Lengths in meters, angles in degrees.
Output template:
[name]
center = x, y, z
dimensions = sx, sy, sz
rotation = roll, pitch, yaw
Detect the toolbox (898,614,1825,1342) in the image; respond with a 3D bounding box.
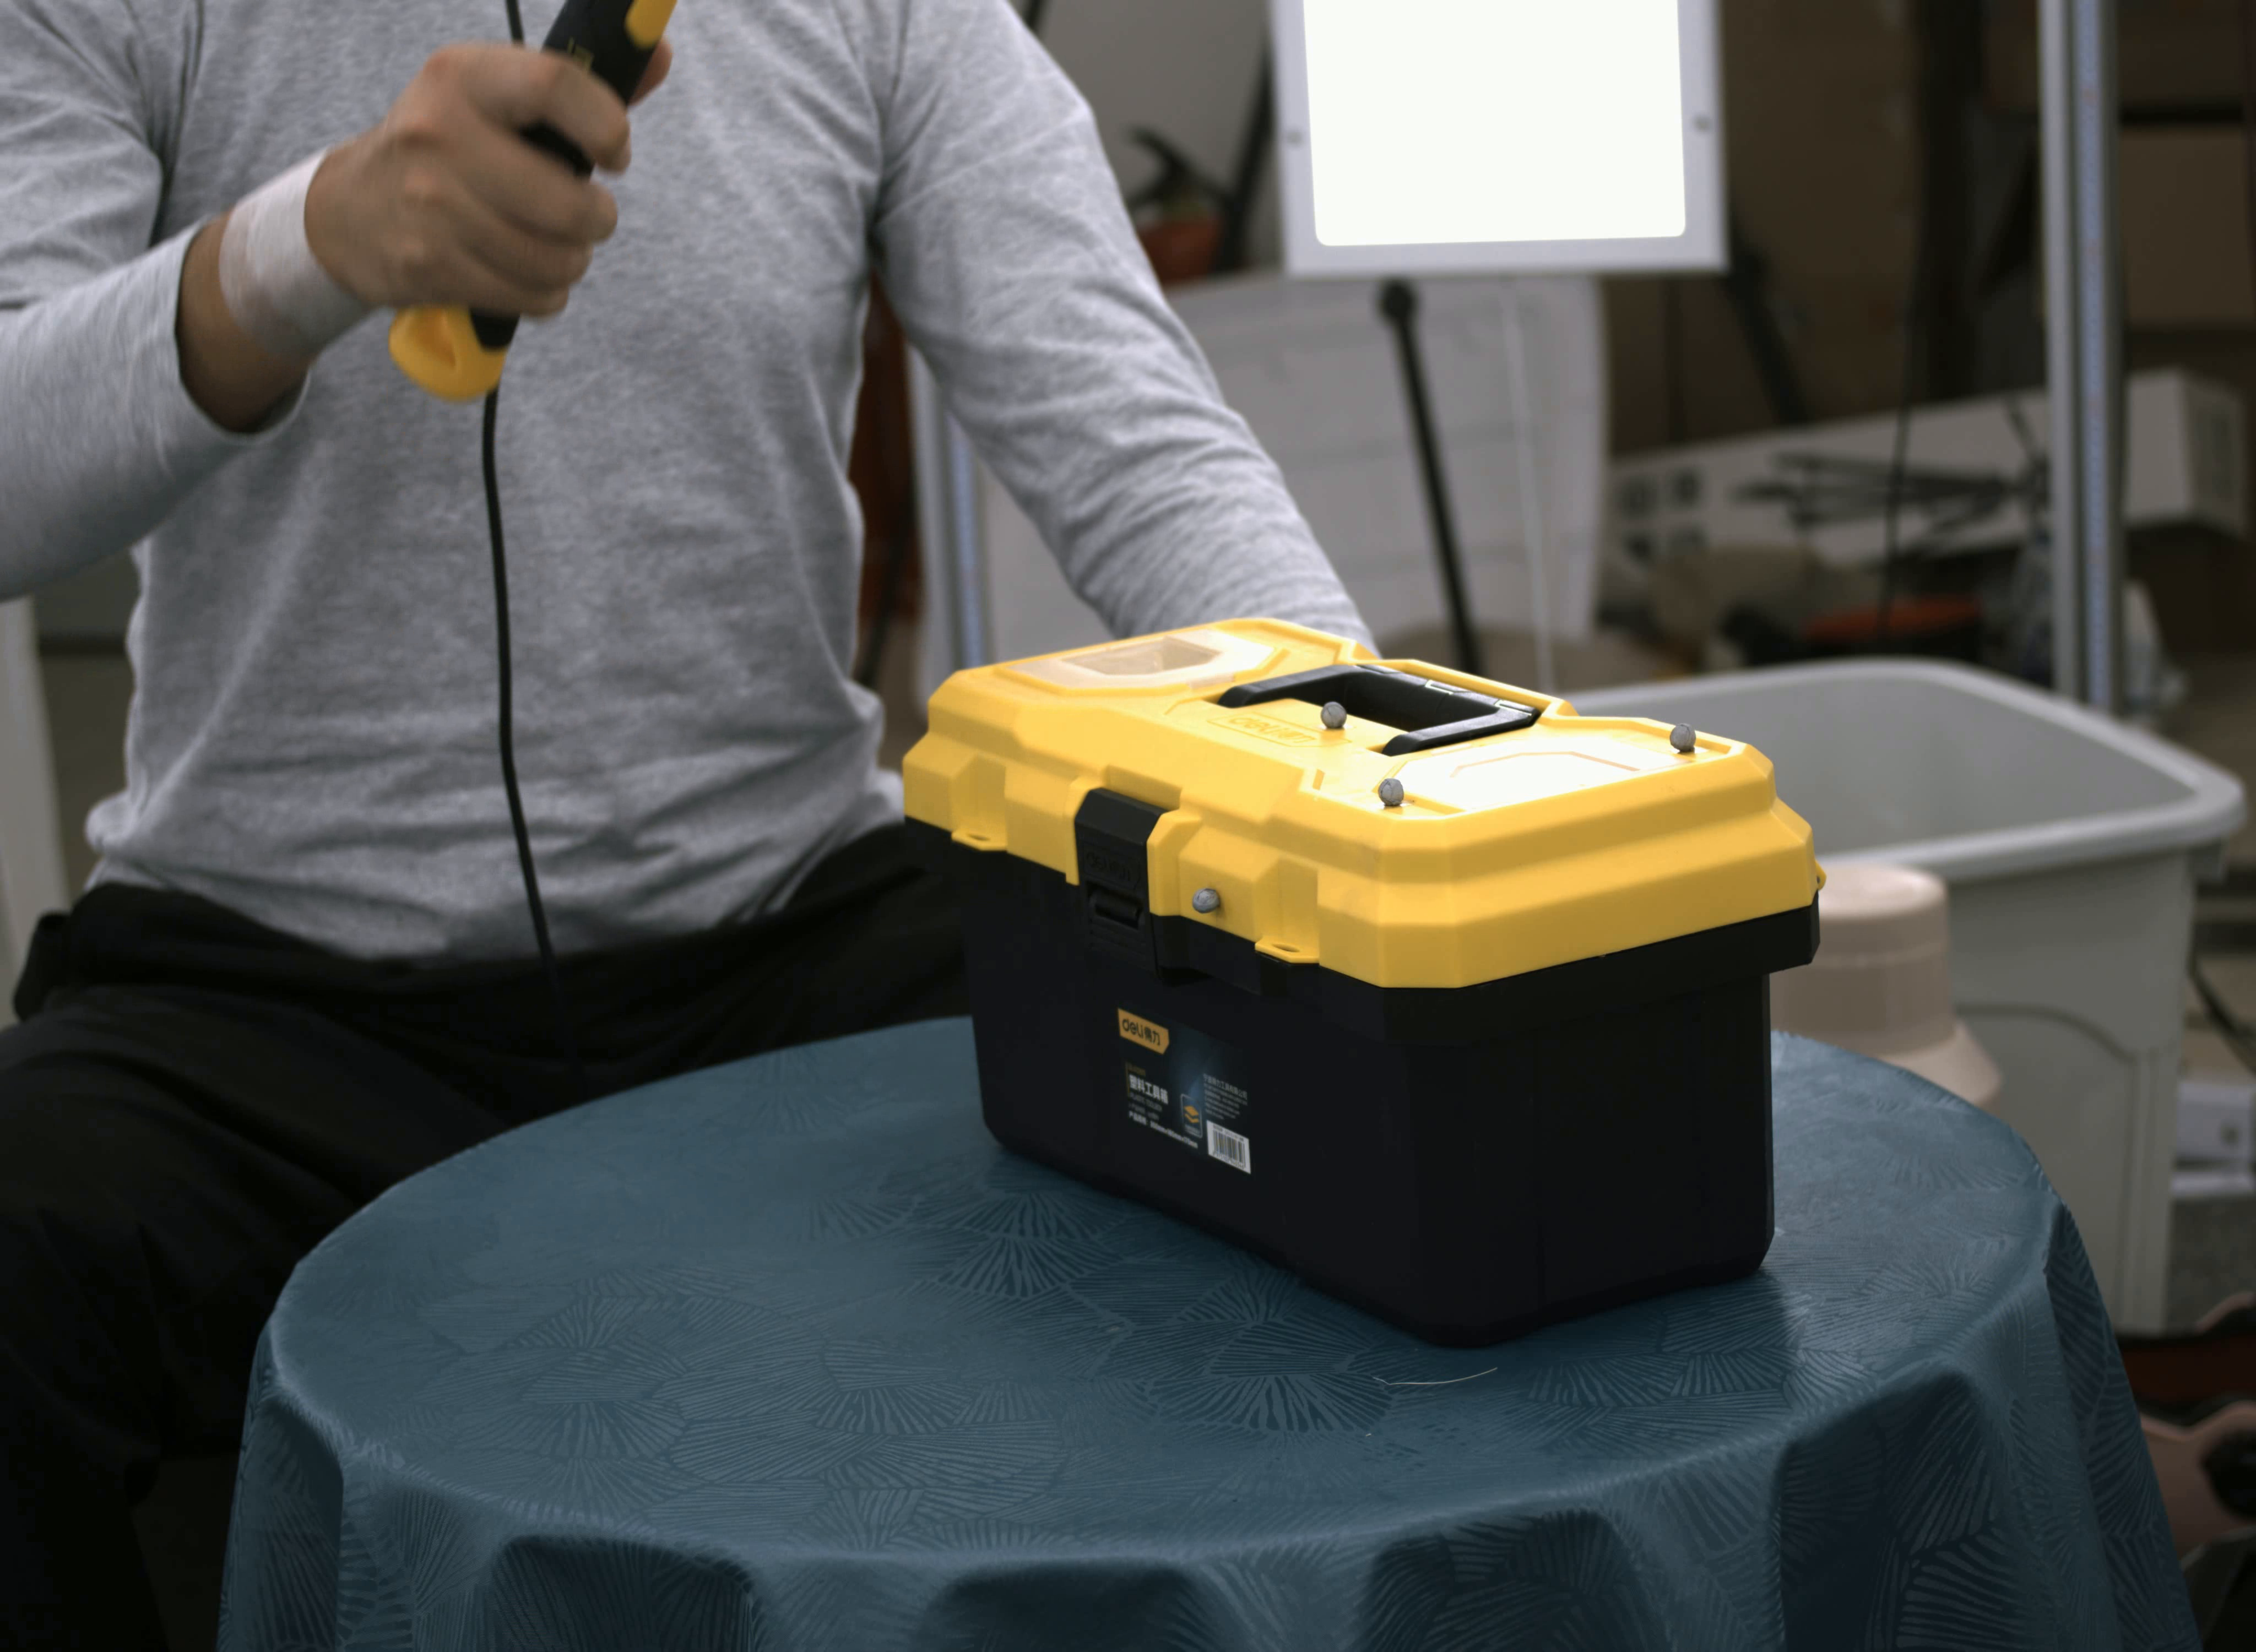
[toolbox]
center = 0.073, 0.043, 1.844
dimensions = 0.177, 0.173, 0.357
rotation = -12, 15, -26

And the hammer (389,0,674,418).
[hammer]
center = -0.166, -0.264, 1.794
dimensions = 0.132, 0.344, 0.031
rotation = 38, 39, 8
